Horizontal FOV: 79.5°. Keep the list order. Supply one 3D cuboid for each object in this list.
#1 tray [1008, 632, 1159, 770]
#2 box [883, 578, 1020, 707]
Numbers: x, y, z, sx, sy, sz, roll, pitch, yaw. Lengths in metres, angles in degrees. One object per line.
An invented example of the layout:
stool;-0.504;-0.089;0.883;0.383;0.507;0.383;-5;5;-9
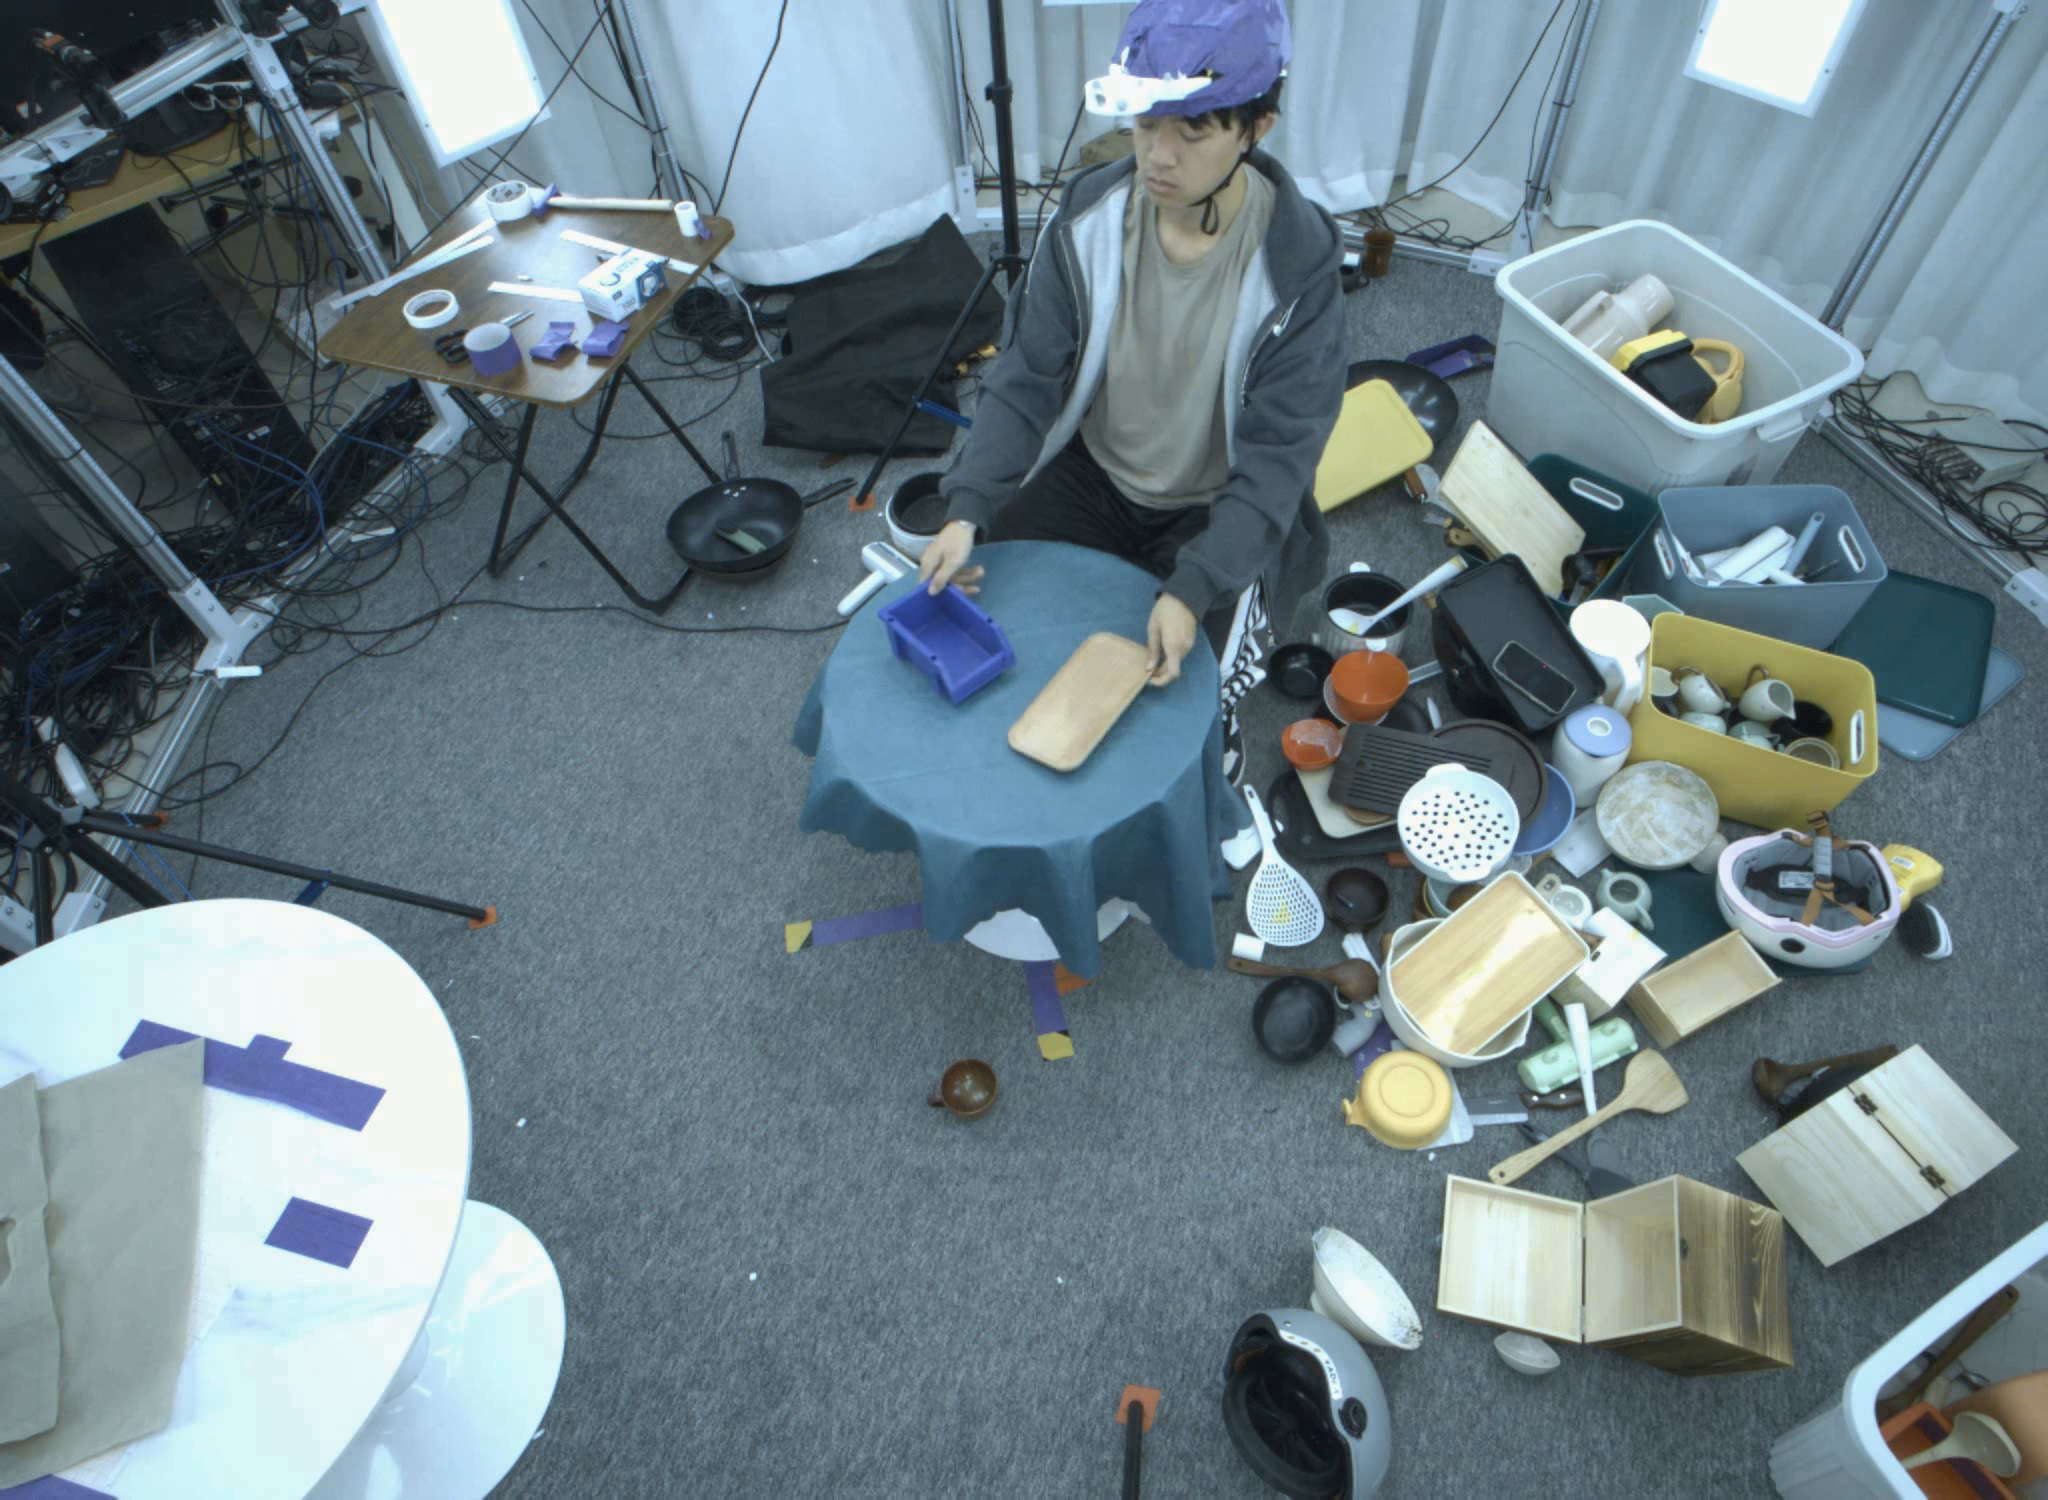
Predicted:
tray;0.089;-0.075;1.816;0.128;0.023;0.252;27;61;26
box;-0.108;-0.161;1.858;0.125;0.083;0.176;-35;57;-20
